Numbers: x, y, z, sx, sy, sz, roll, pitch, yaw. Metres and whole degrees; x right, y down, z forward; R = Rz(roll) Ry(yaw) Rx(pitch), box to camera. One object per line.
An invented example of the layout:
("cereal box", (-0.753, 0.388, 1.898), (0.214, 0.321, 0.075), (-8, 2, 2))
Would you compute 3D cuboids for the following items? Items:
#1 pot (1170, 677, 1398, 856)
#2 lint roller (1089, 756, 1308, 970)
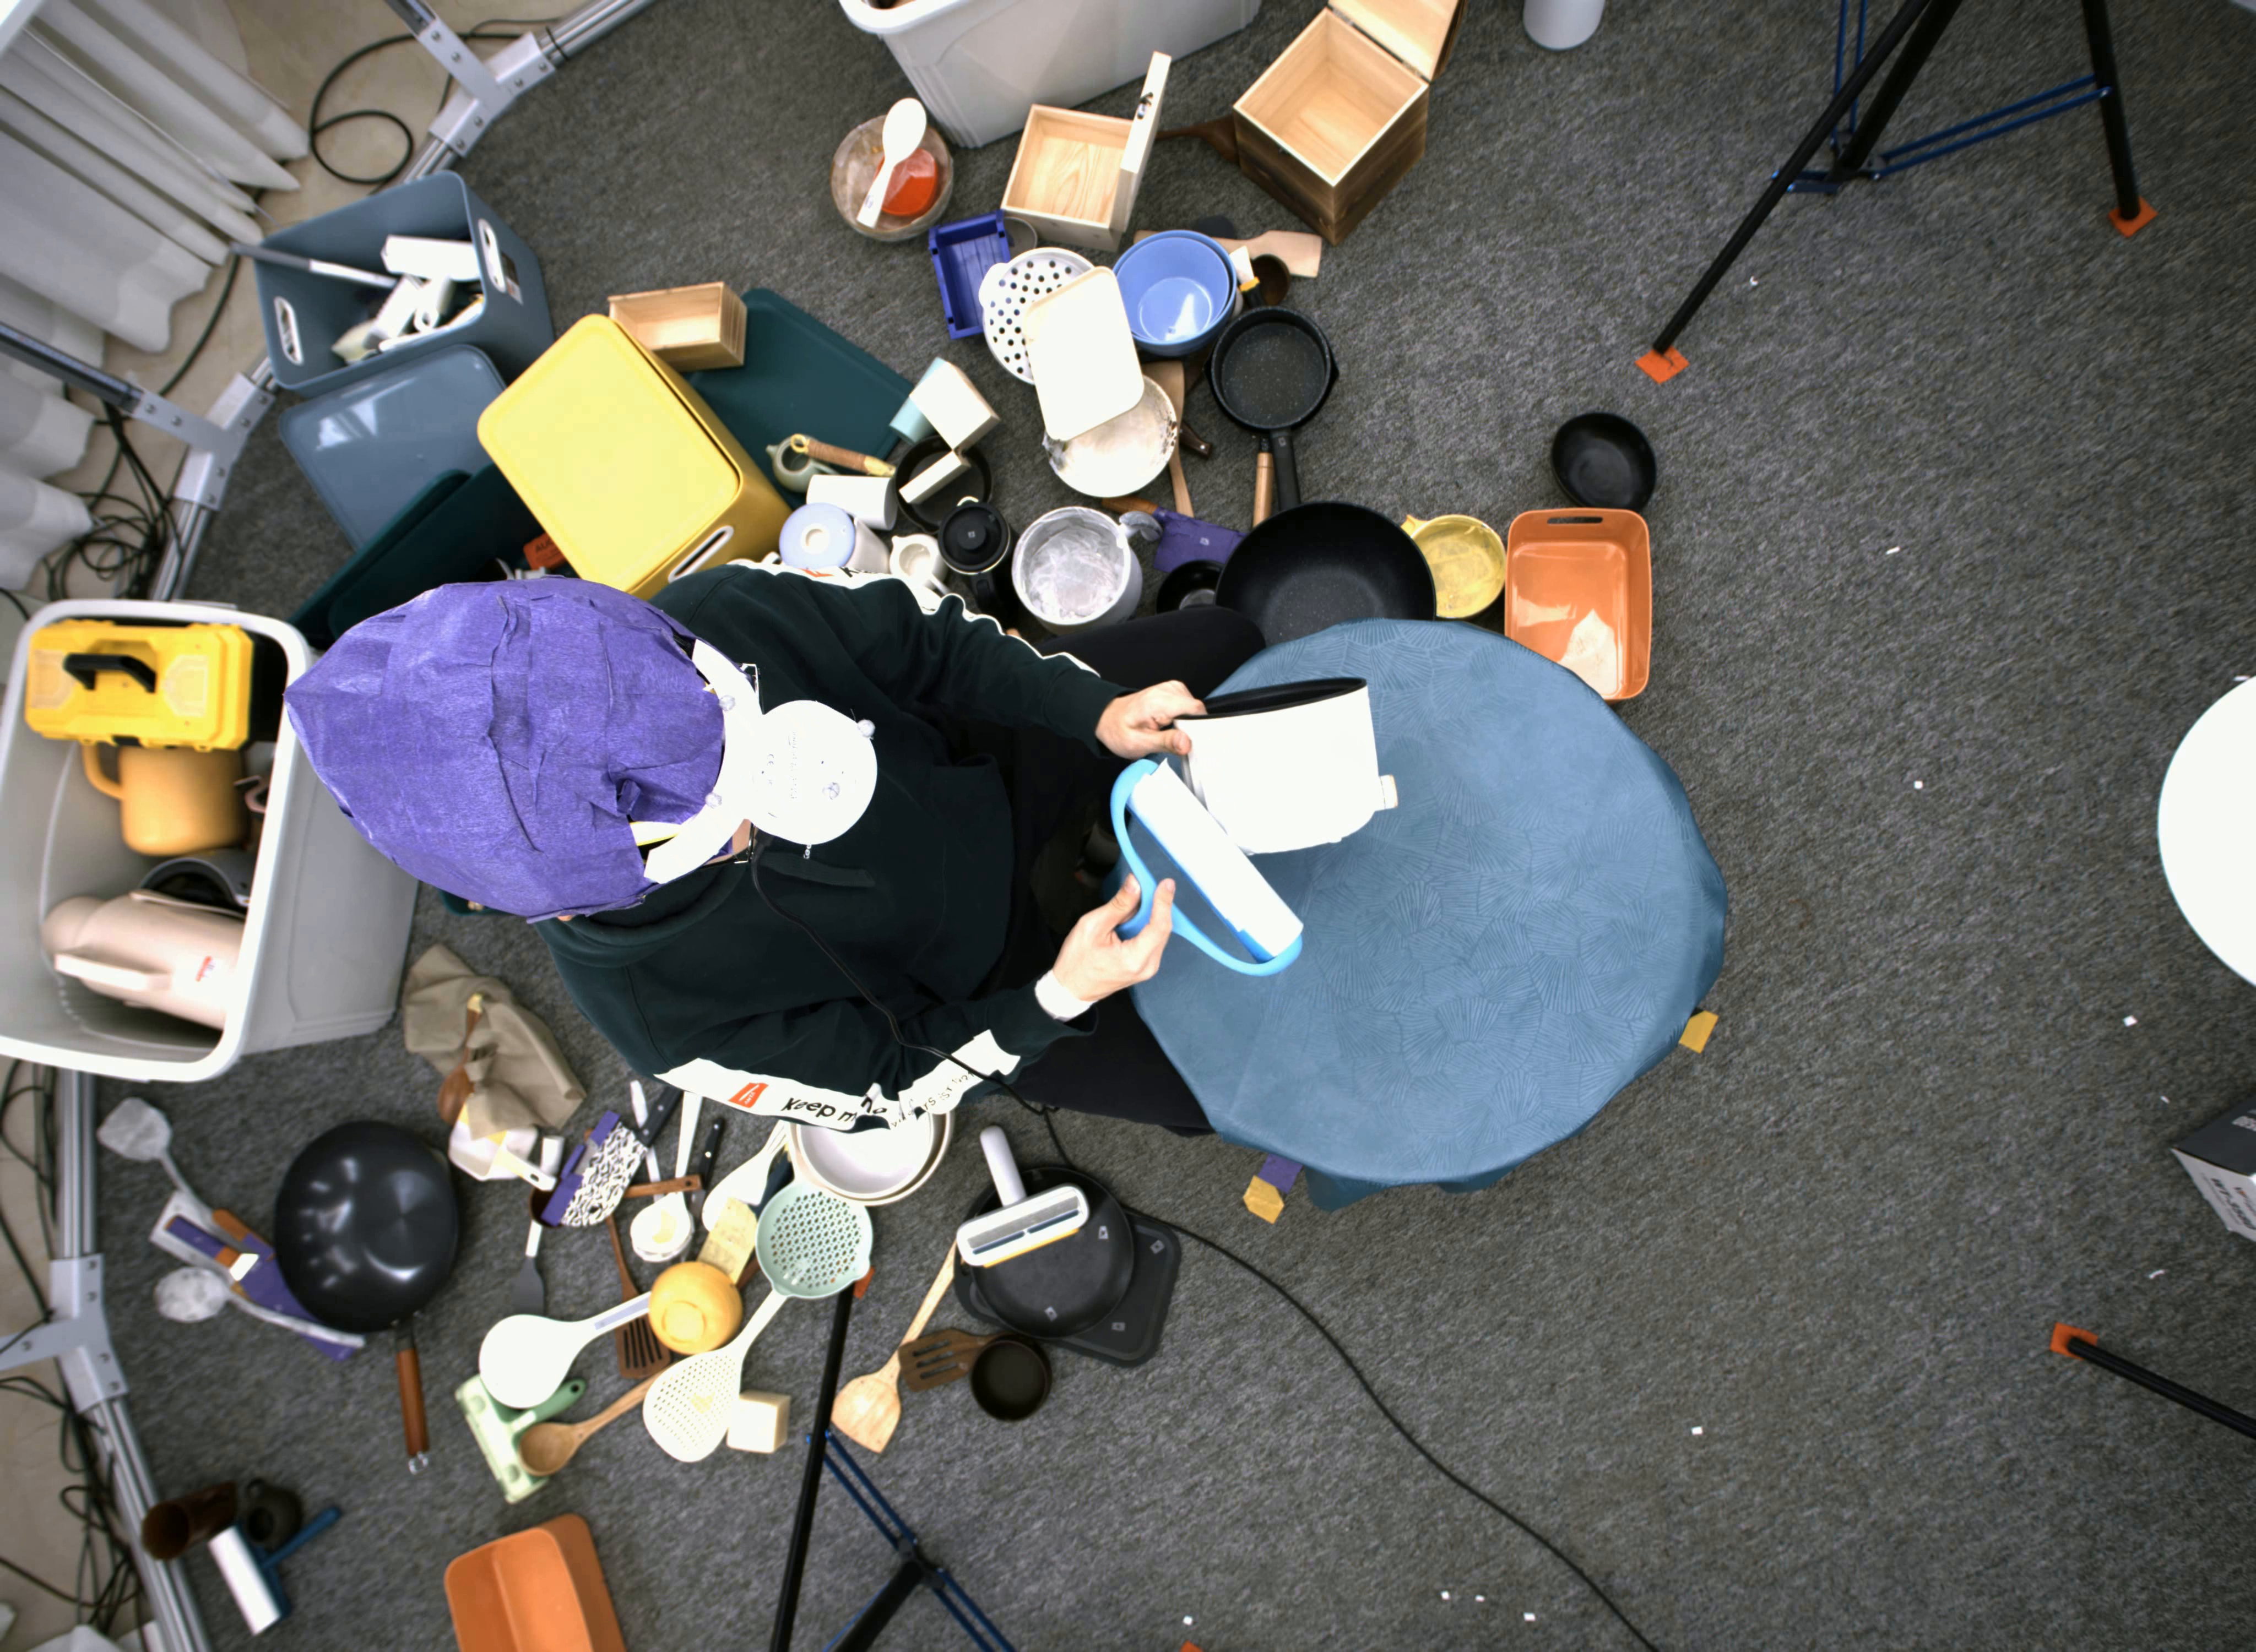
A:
("pot", (0.145, -0.056, 1.272), (0.191, 0.237, 0.144), (-12, 102, 7))
("lint roller", (0.033, 0.069, 1.238), (0.182, 0.067, 0.229), (-43, 97, 16))
